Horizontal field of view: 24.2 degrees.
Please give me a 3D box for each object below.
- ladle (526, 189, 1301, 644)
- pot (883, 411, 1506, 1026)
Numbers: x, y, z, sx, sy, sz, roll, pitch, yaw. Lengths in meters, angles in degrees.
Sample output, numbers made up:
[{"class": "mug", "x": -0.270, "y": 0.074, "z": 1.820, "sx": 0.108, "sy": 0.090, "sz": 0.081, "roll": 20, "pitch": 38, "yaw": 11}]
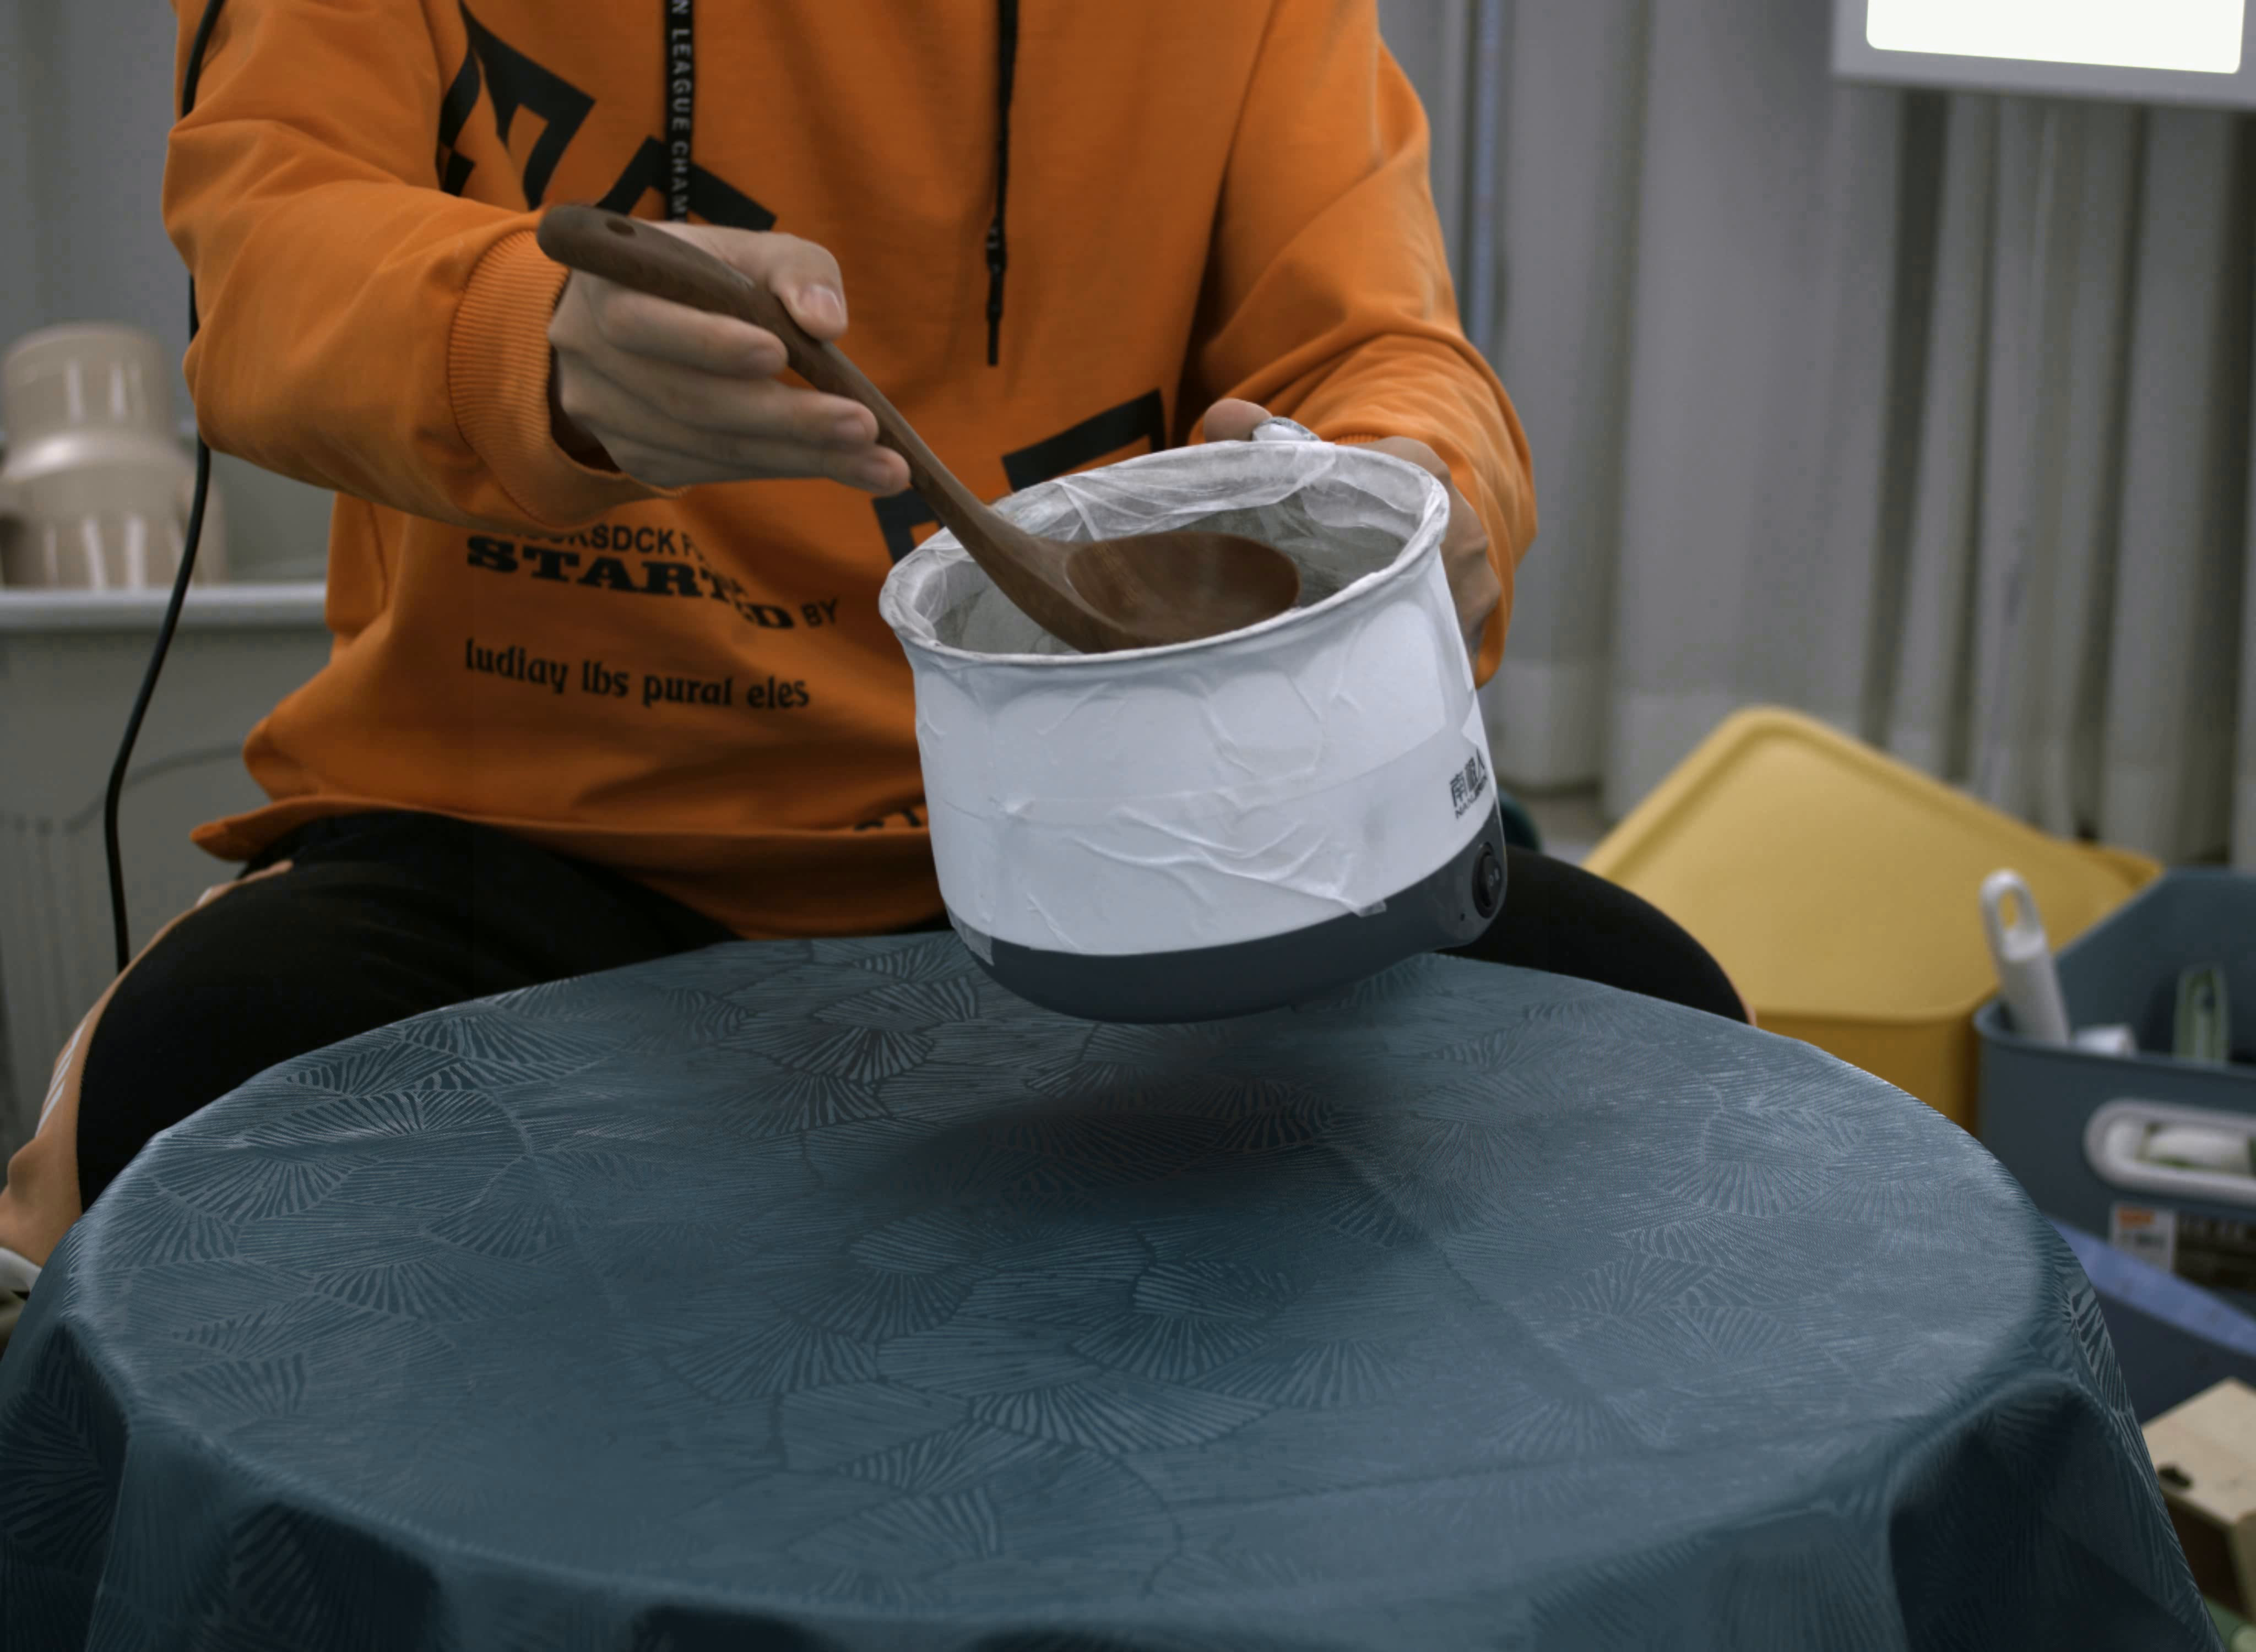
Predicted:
[{"class": "ladle", "x": -0.060, "y": -0.126, "z": 1.570, "sx": 0.262, "sy": 0.065, "sz": 0.076, "roll": 37, "pitch": 18, "yaw": -18}, {"class": "pot", "x": 0.032, "y": -0.040, "z": 1.651, "sx": 0.177, "sy": 0.138, "sz": 0.233, "roll": 0, "pitch": 25, "yaw": 22}]
